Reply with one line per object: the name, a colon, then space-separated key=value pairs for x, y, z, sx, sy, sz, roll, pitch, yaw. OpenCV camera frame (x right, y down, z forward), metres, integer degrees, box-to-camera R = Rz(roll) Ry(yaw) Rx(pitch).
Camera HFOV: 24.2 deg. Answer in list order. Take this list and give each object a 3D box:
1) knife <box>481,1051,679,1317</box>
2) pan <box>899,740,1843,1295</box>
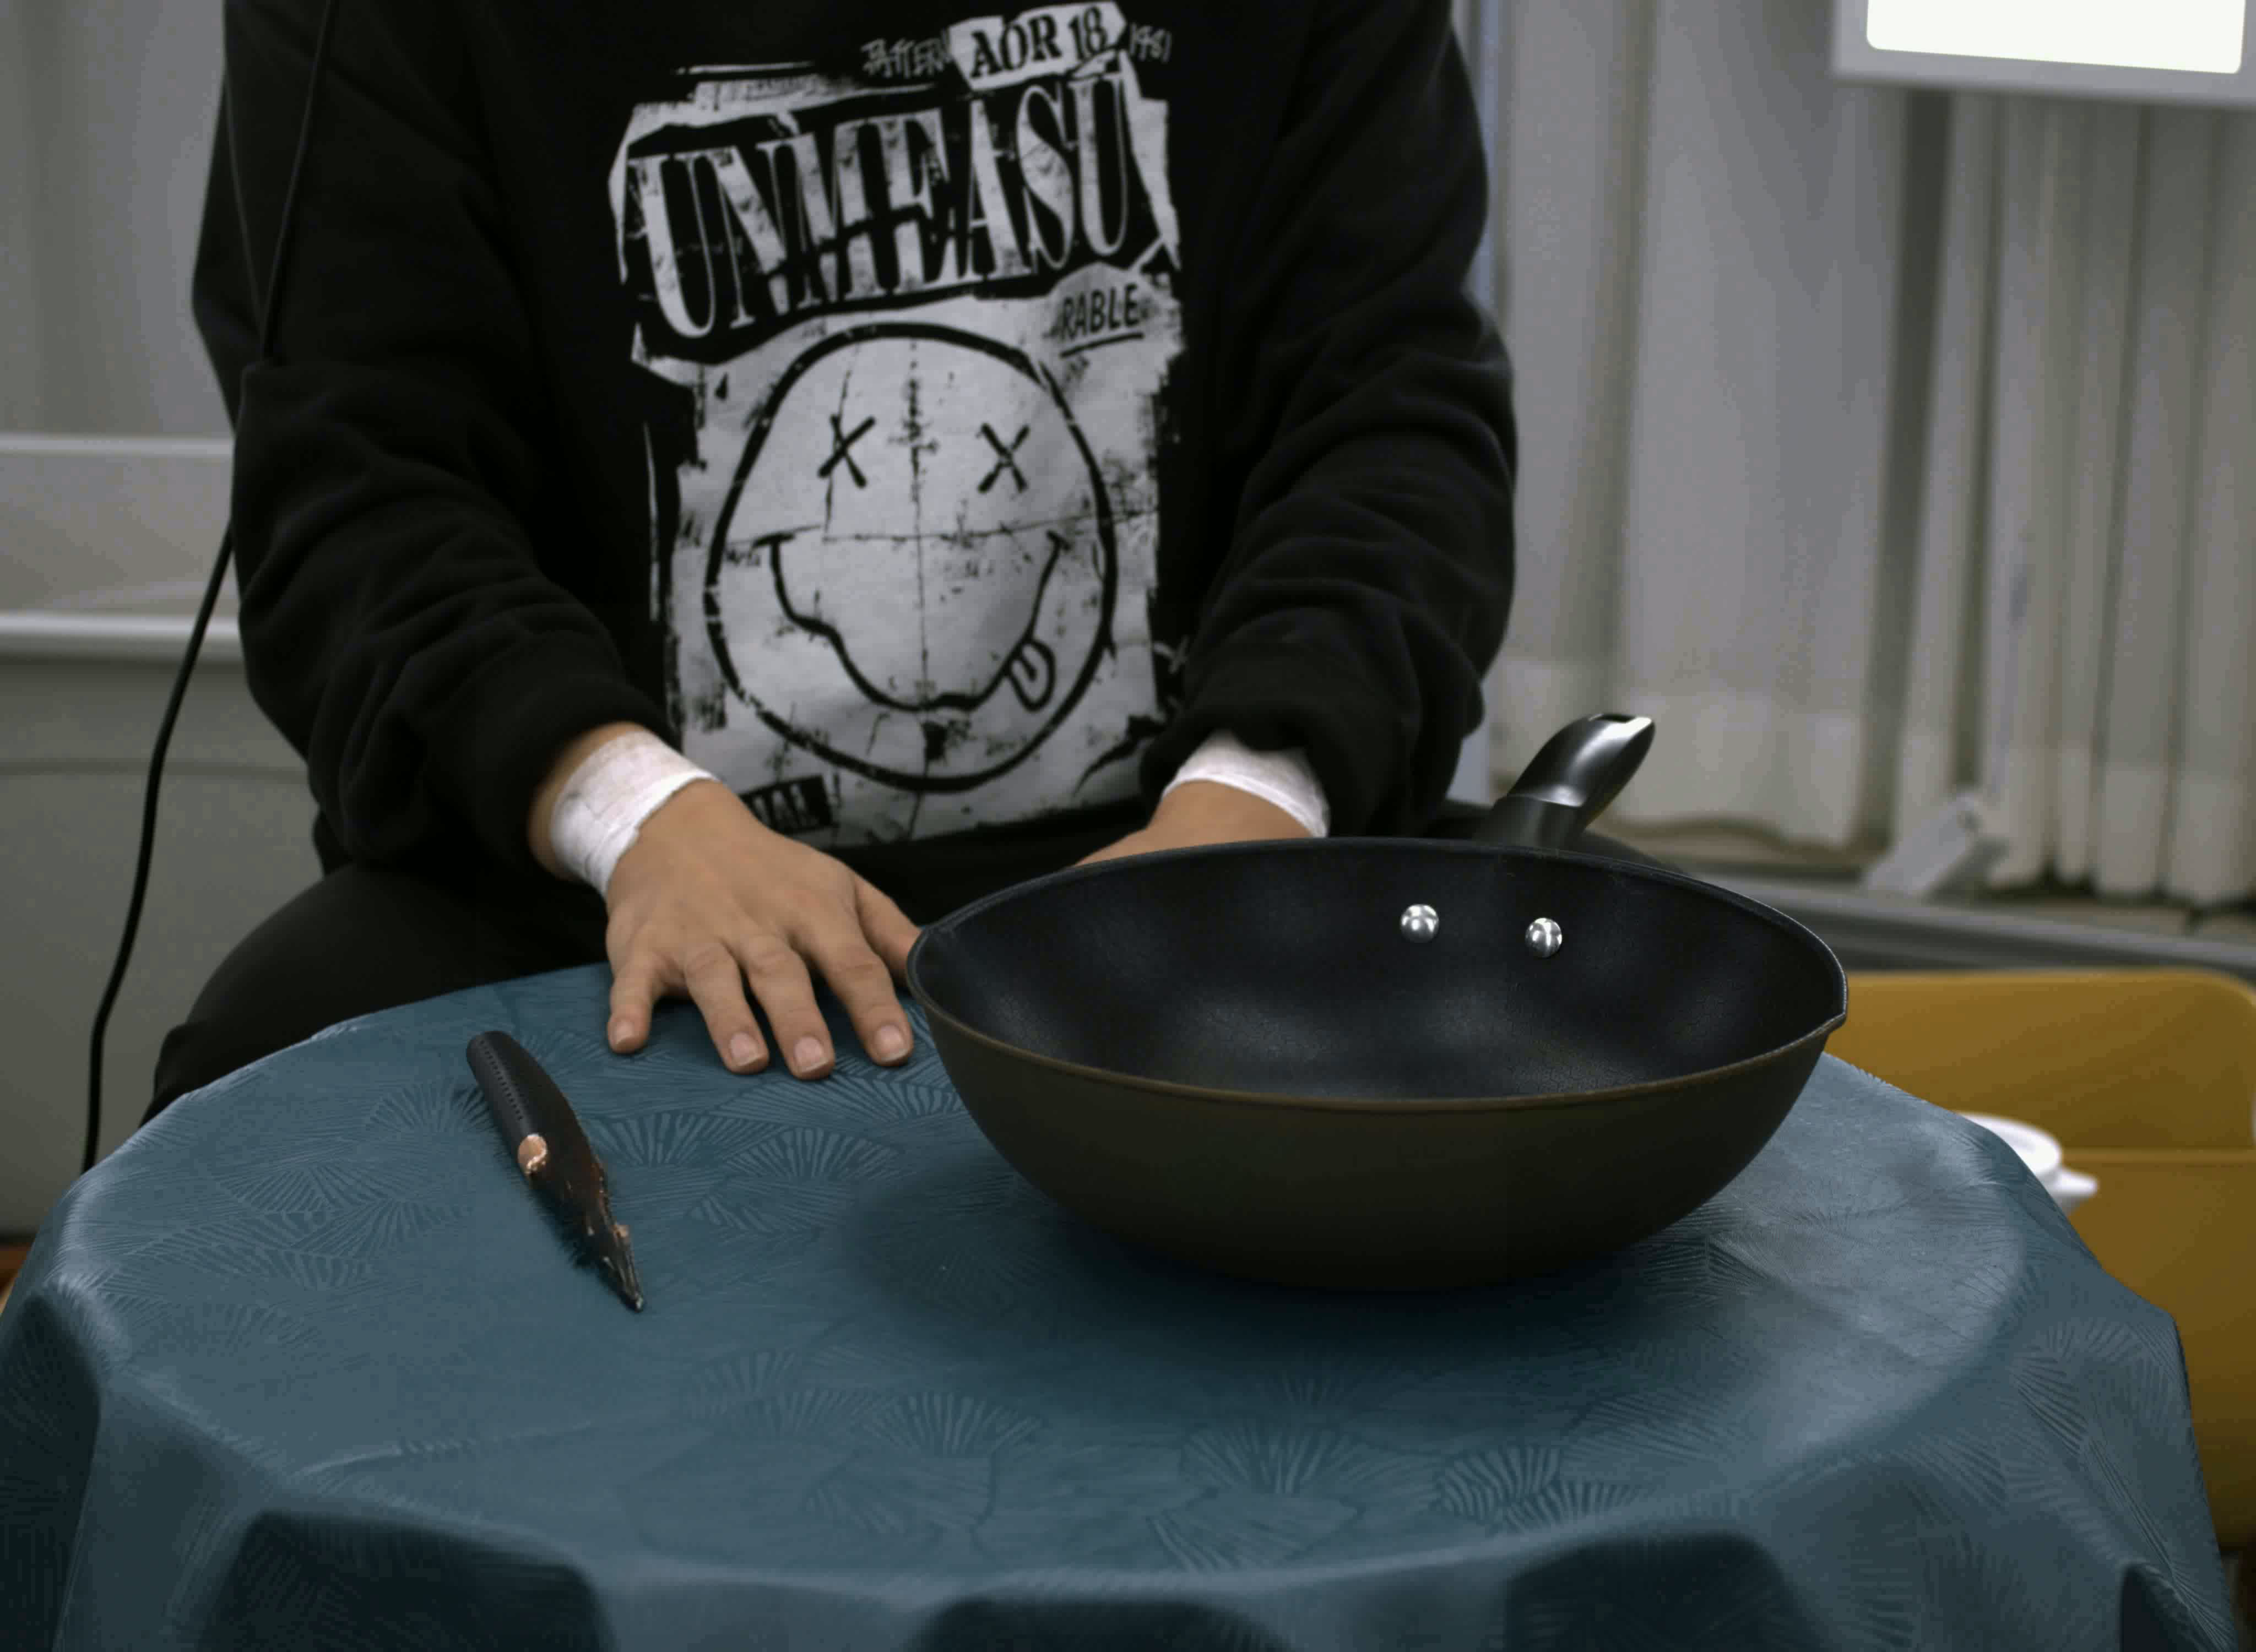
knife: x=-0.170 y=0.109 z=1.616 sx=0.026 sy=0.017 sz=0.223 roll=12 pitch=12 yaw=-21
pan: x=0.101 y=0.057 z=1.675 sx=0.285 sy=0.087 sz=0.463 roll=6 pitch=15 yaw=17
